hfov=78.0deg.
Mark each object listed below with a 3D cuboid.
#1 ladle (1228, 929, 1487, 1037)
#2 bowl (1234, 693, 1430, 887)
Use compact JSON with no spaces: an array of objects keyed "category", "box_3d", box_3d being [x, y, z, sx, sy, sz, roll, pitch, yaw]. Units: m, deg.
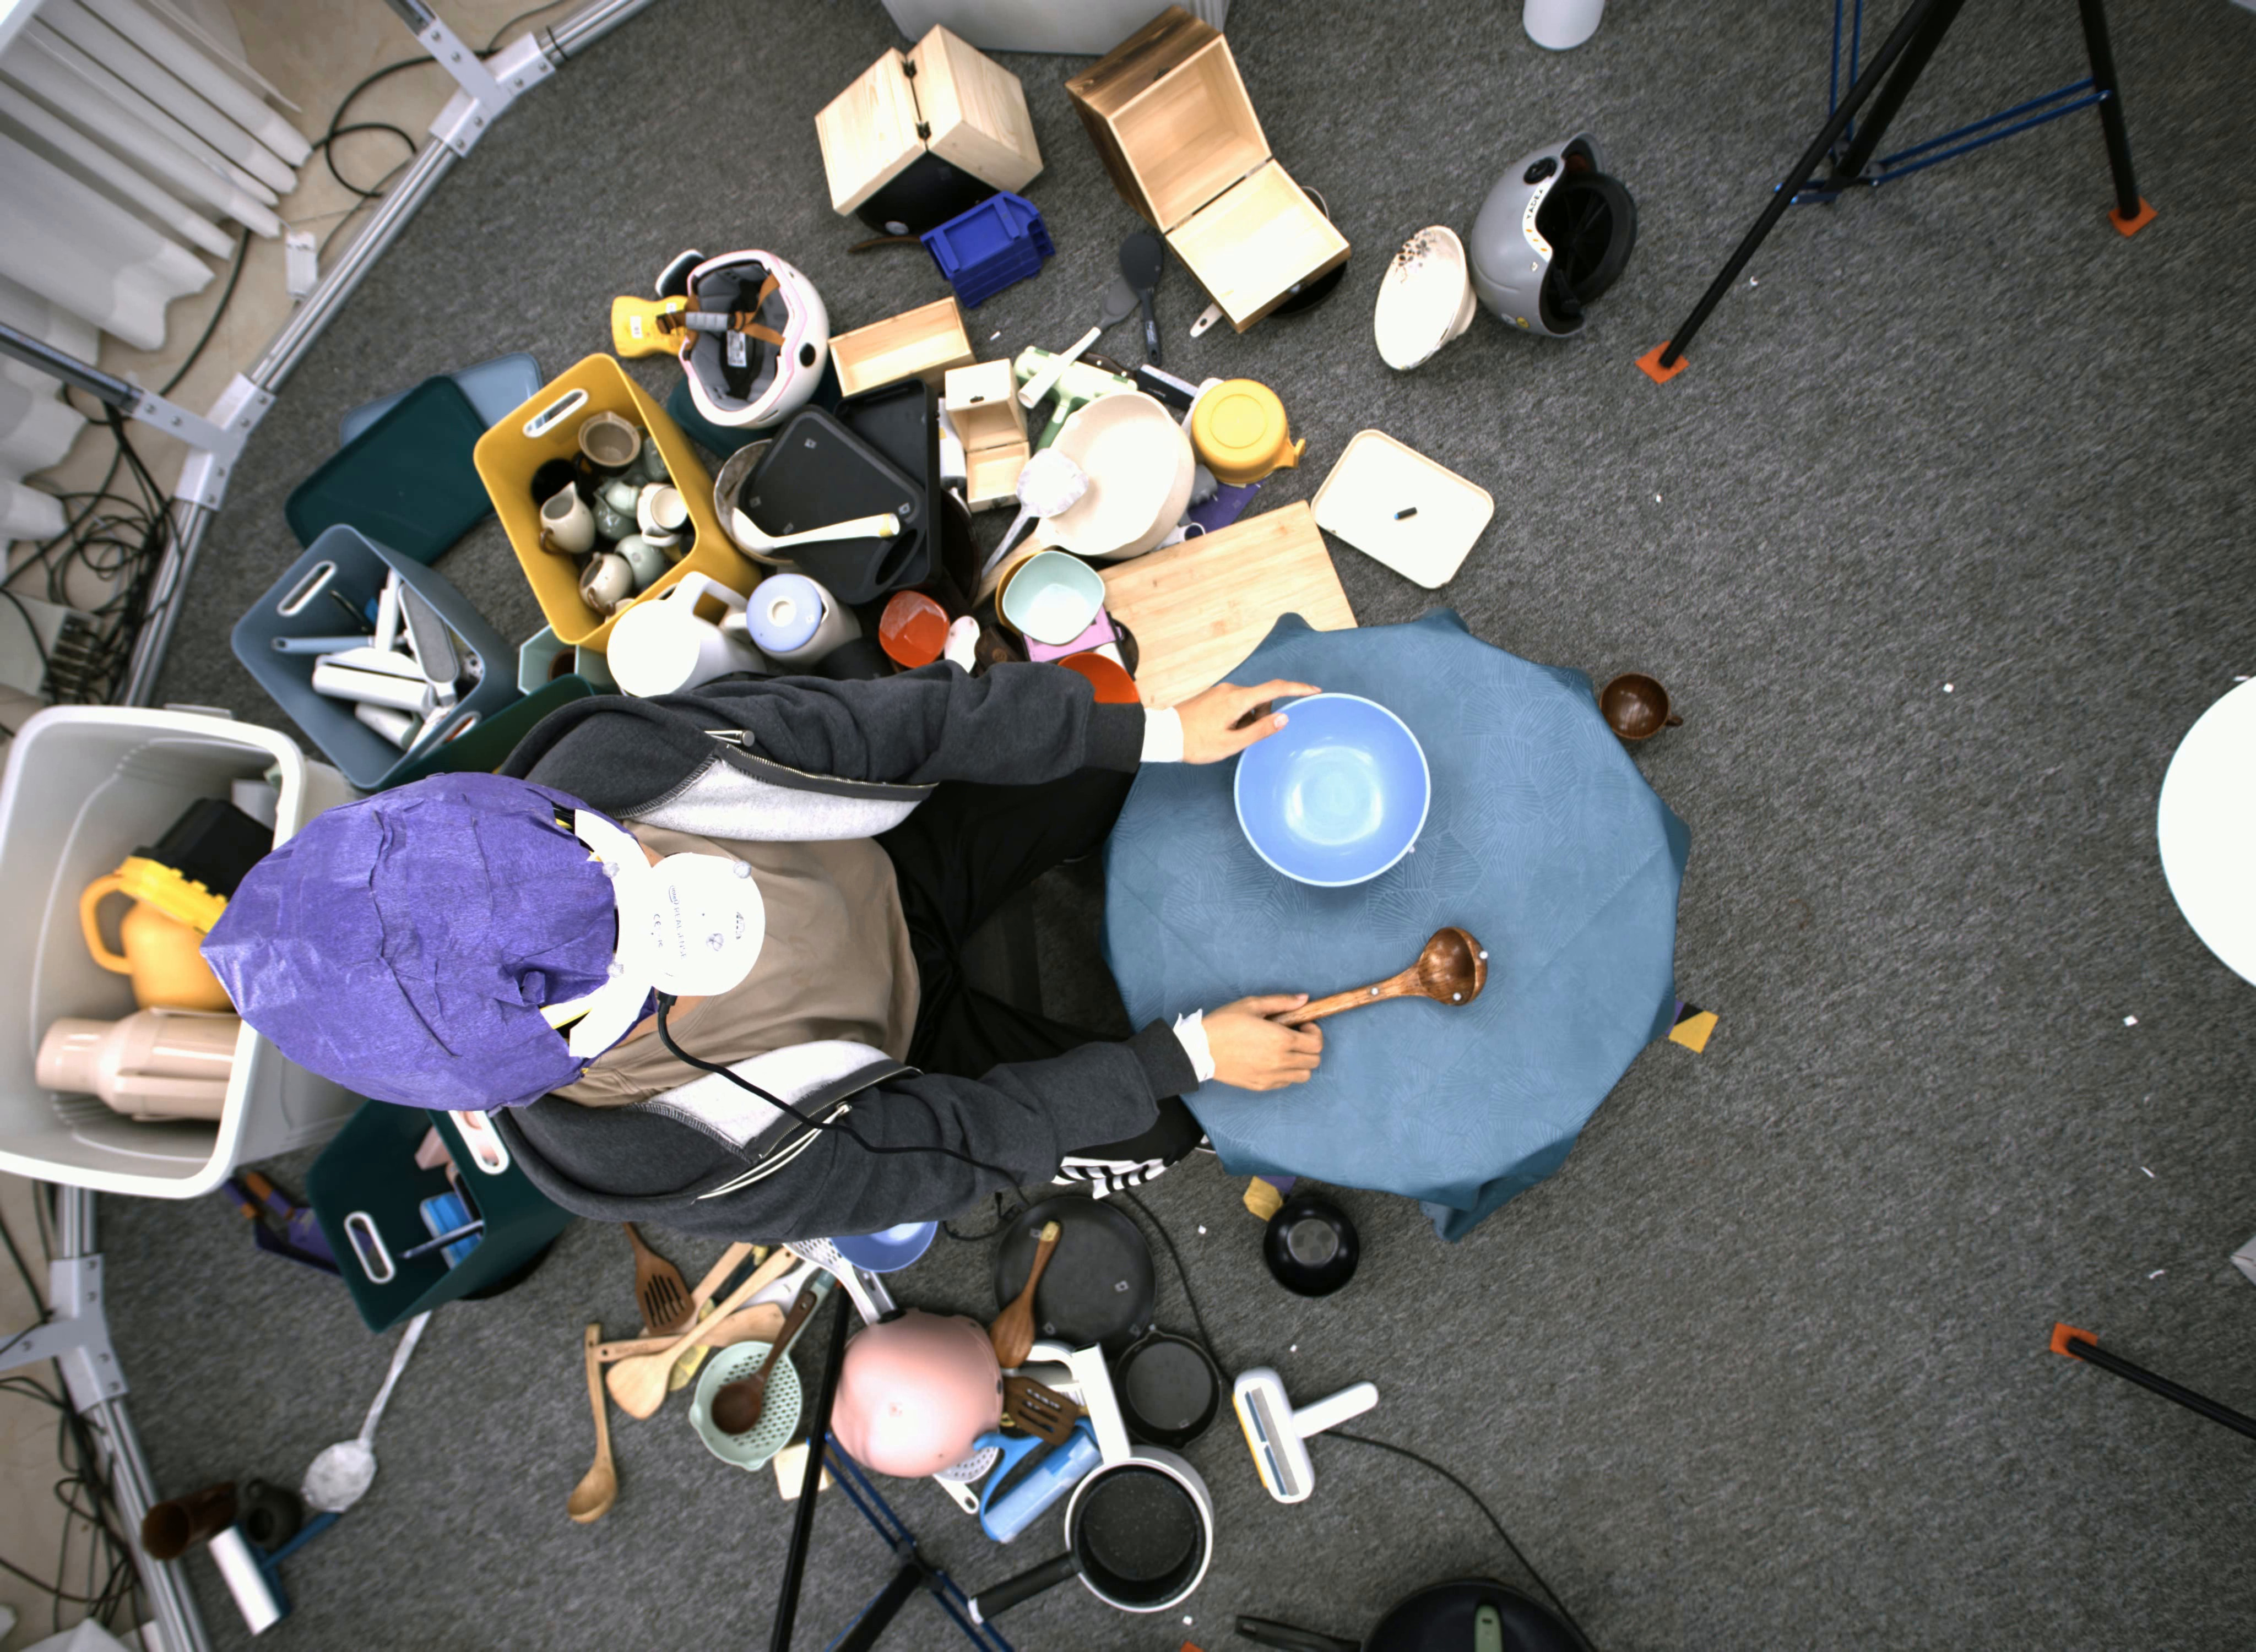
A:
[{"category":"ladle","box_3d":[0.232,0.173,1.421,0.275,0.077,0.081,-15,72,9]},{"category":"bowl","box_3d":[0.212,-0.034,1.428,0.197,0.095,0.196,-1,87,11]}]
